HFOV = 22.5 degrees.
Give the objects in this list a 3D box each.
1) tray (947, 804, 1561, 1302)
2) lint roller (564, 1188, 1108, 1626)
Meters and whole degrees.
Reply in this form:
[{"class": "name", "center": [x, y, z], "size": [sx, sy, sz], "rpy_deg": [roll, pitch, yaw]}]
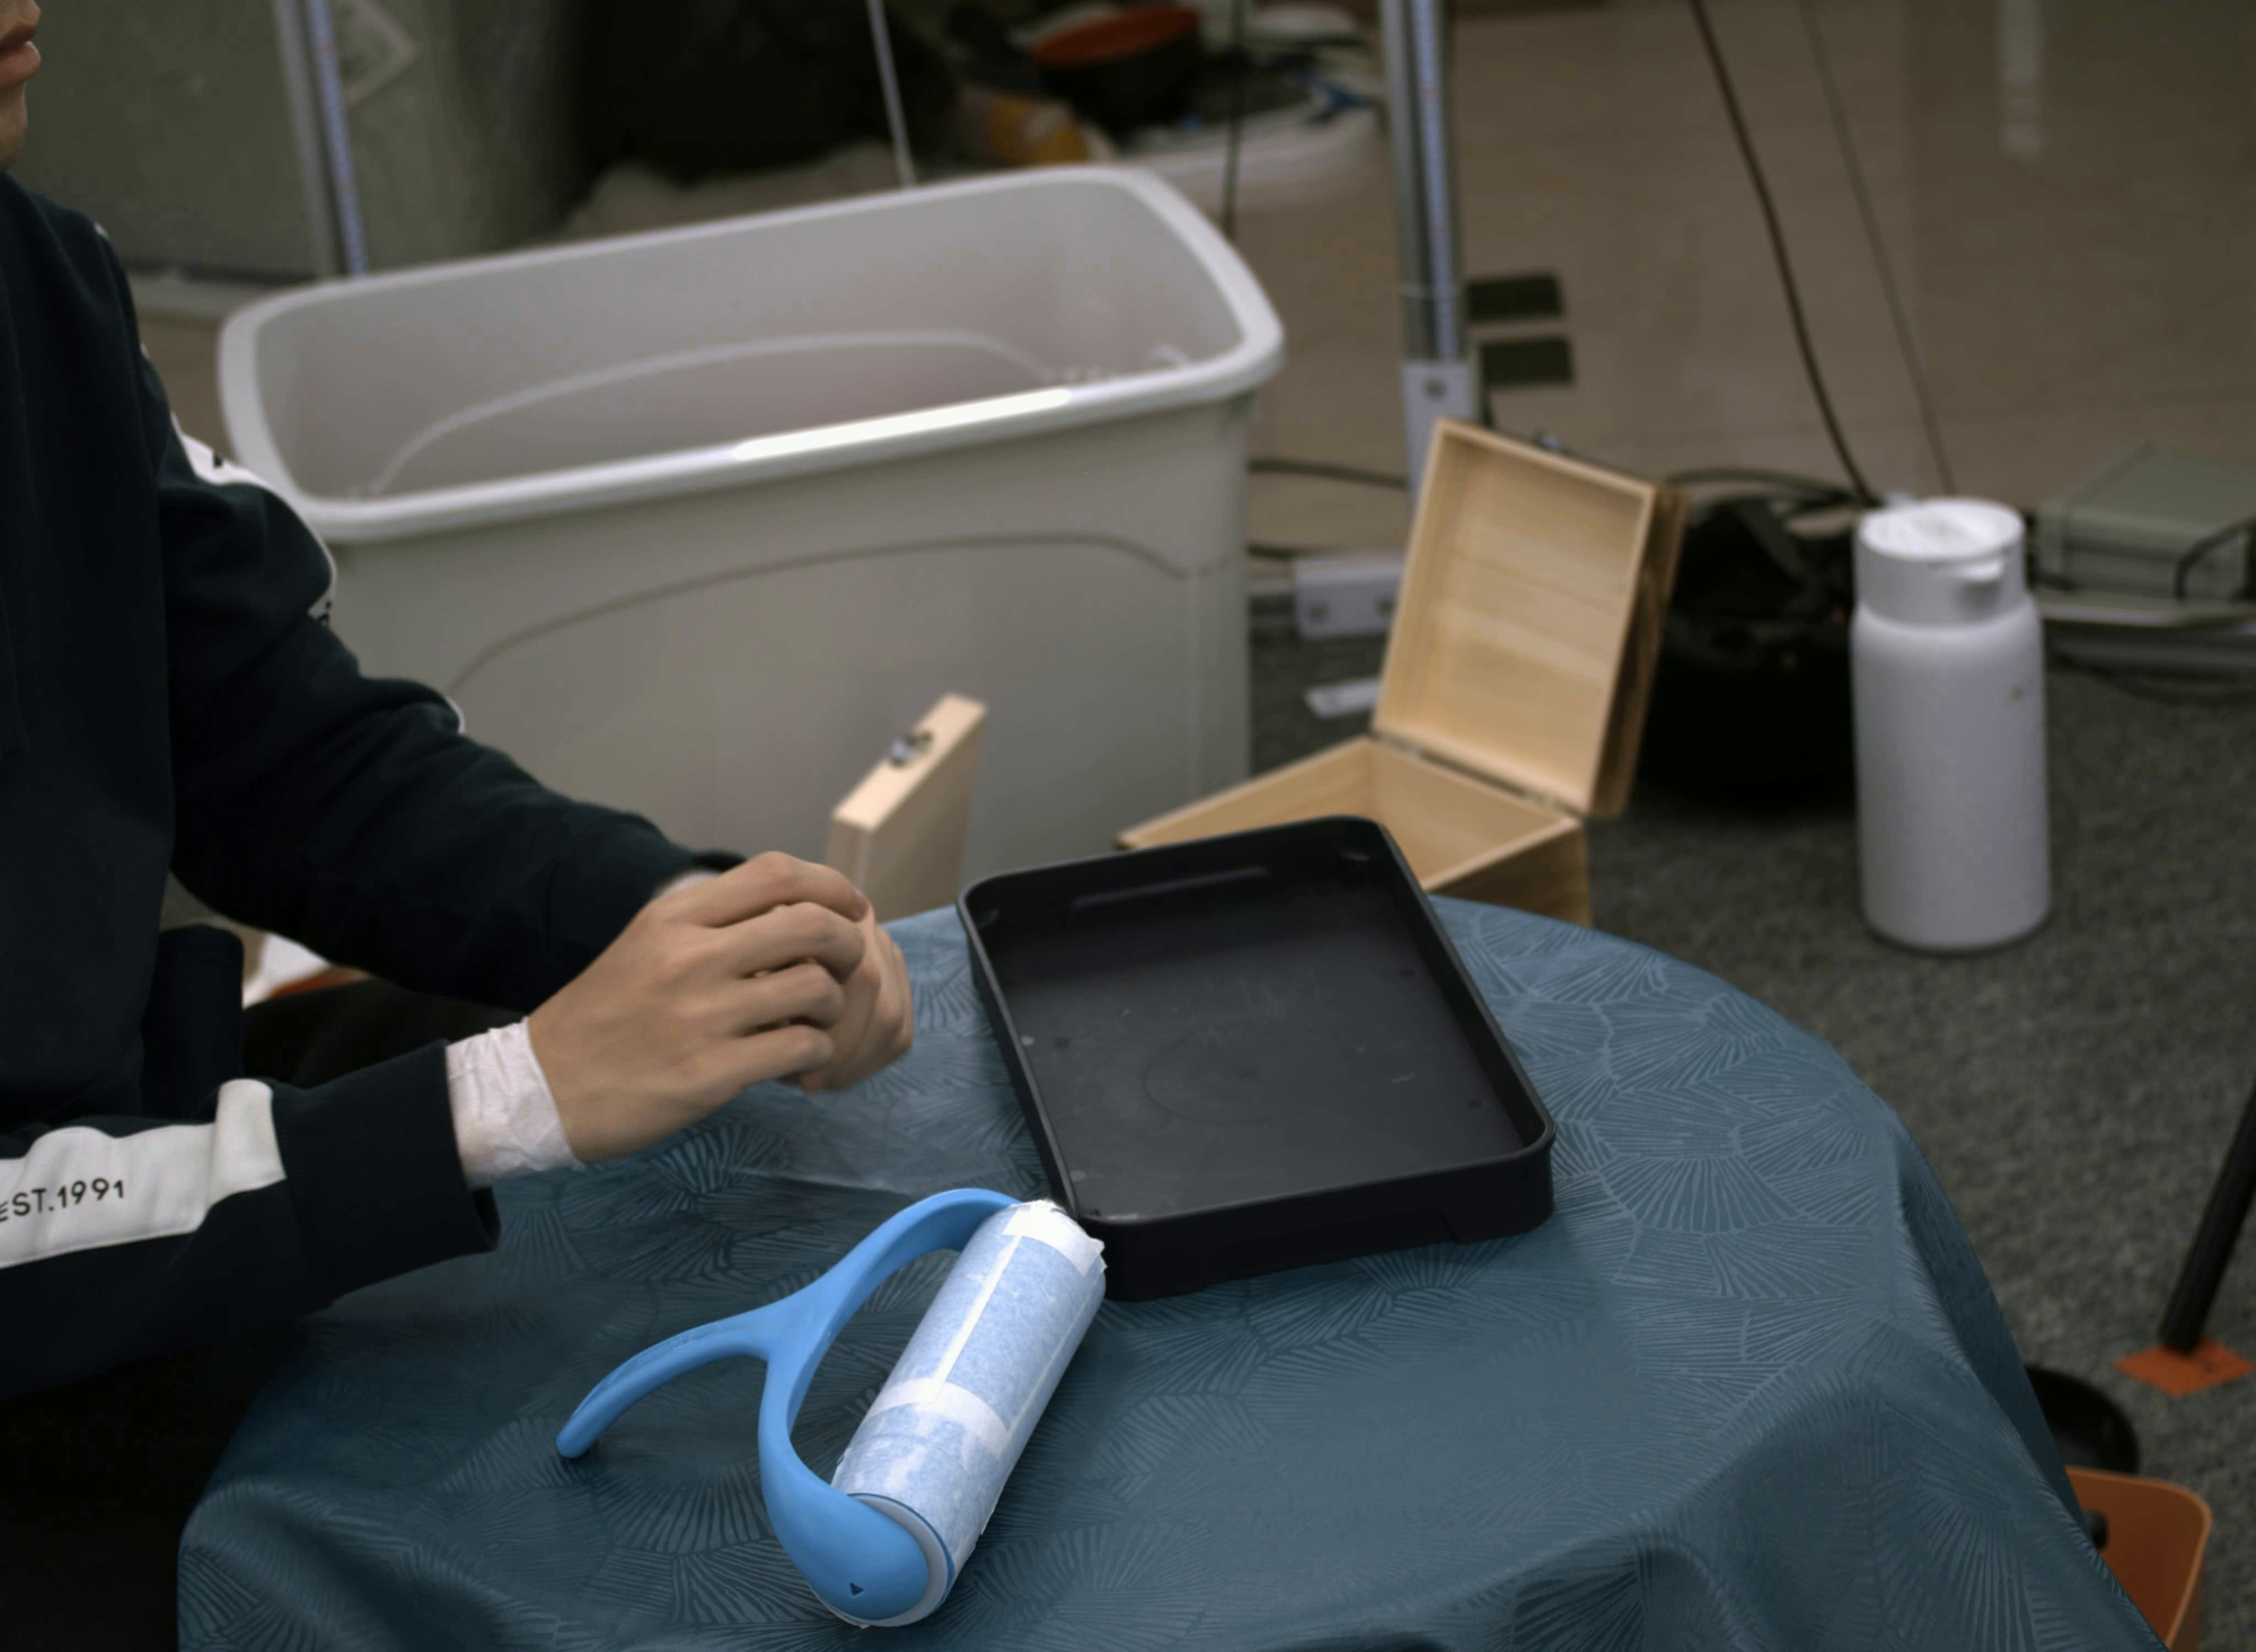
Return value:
[{"class": "tray", "center": [0.044, 0.083, 2.211], "size": [0.184, 0.037, 0.313], "rpy_deg": [-11, 26, -8]}, {"class": "lint roller", "center": [-0.115, 0.199, 1.975], "size": [0.180, 0.069, 0.225], "rpy_deg": [2, 28, 14]}]
